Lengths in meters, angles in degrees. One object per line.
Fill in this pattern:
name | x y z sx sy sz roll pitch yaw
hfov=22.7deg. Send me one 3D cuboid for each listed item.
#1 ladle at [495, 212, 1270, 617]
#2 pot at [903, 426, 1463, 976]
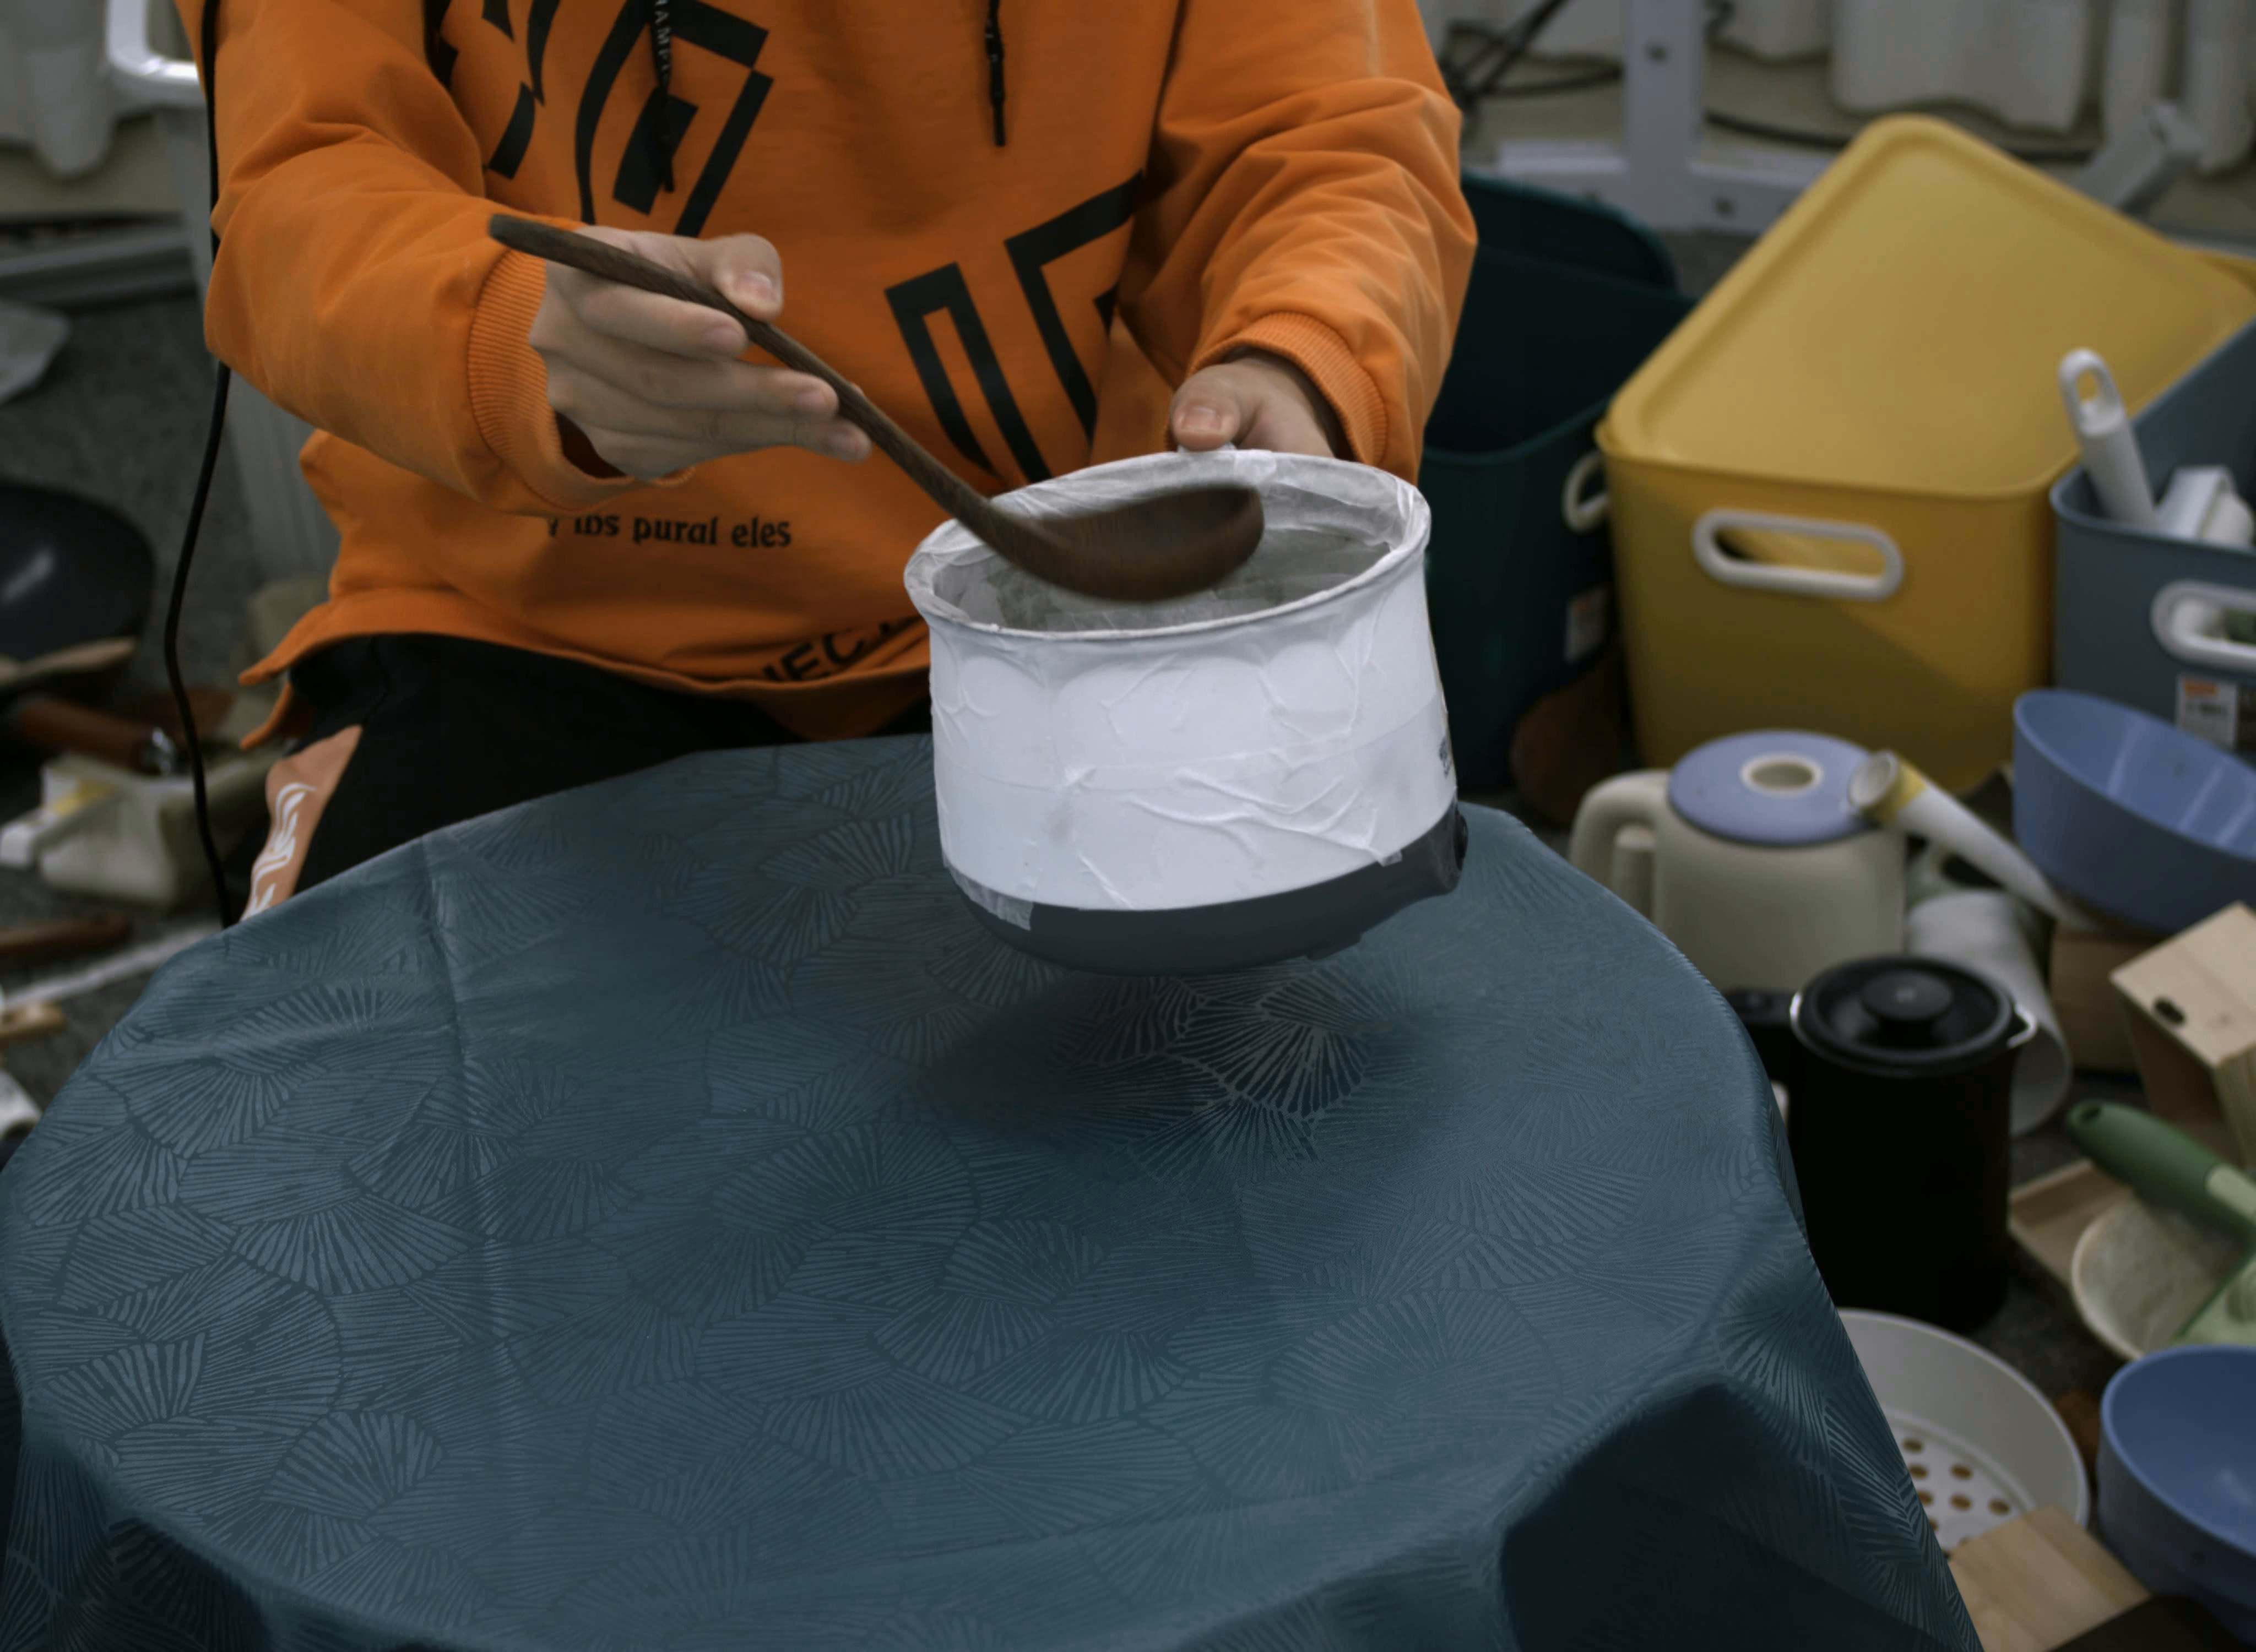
ladle | -0.075 -0.148 1.839 0.273 0.071 0.076 34 0 -19
pot | 0.022 -0.048 1.920 0.177 0.135 0.237 -4 21 8
